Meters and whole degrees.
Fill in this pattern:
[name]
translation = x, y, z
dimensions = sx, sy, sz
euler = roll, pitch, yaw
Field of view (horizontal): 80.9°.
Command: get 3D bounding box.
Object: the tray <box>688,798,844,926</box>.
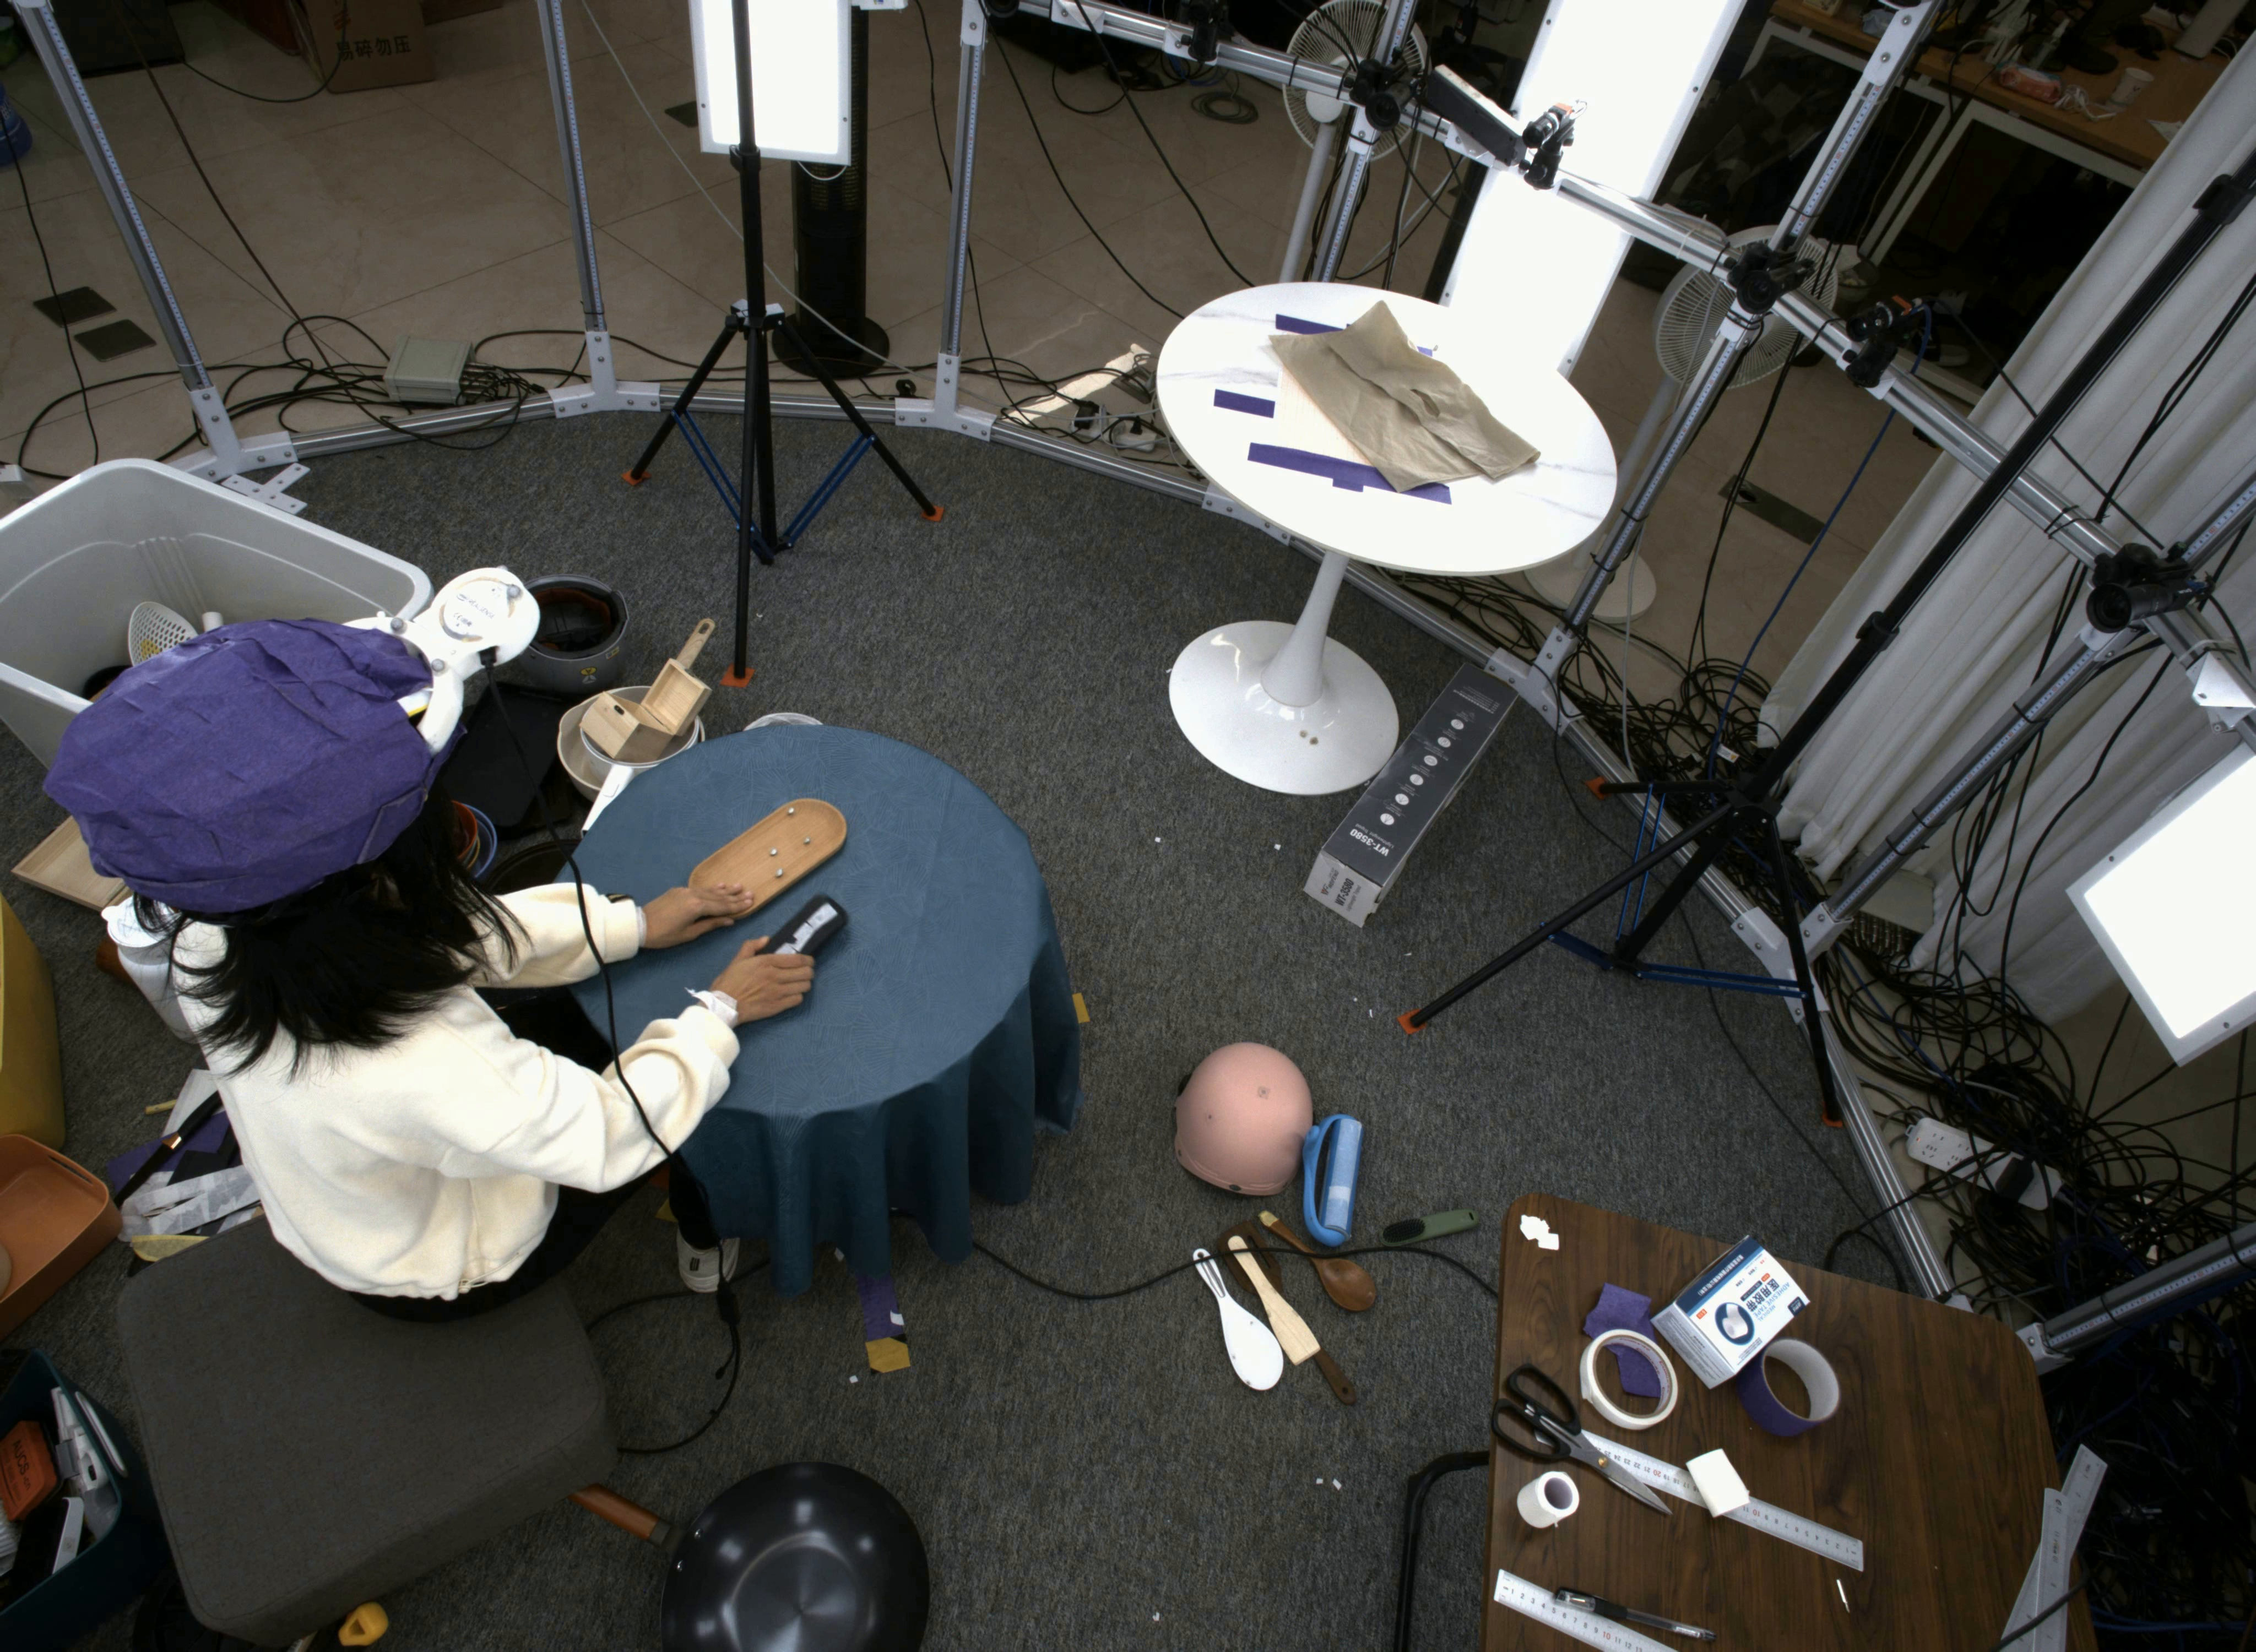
[tray]
translation = -0.463, 0.043, 1.666
dimensions = 0.099, 0.021, 0.231
euler = 36, 55, 14

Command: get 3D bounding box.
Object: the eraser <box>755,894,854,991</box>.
[eraser]
translation = -0.397, 0.139, 1.593
dimensions = 0.053, 0.031, 0.125
euler = 37, 55, 5
